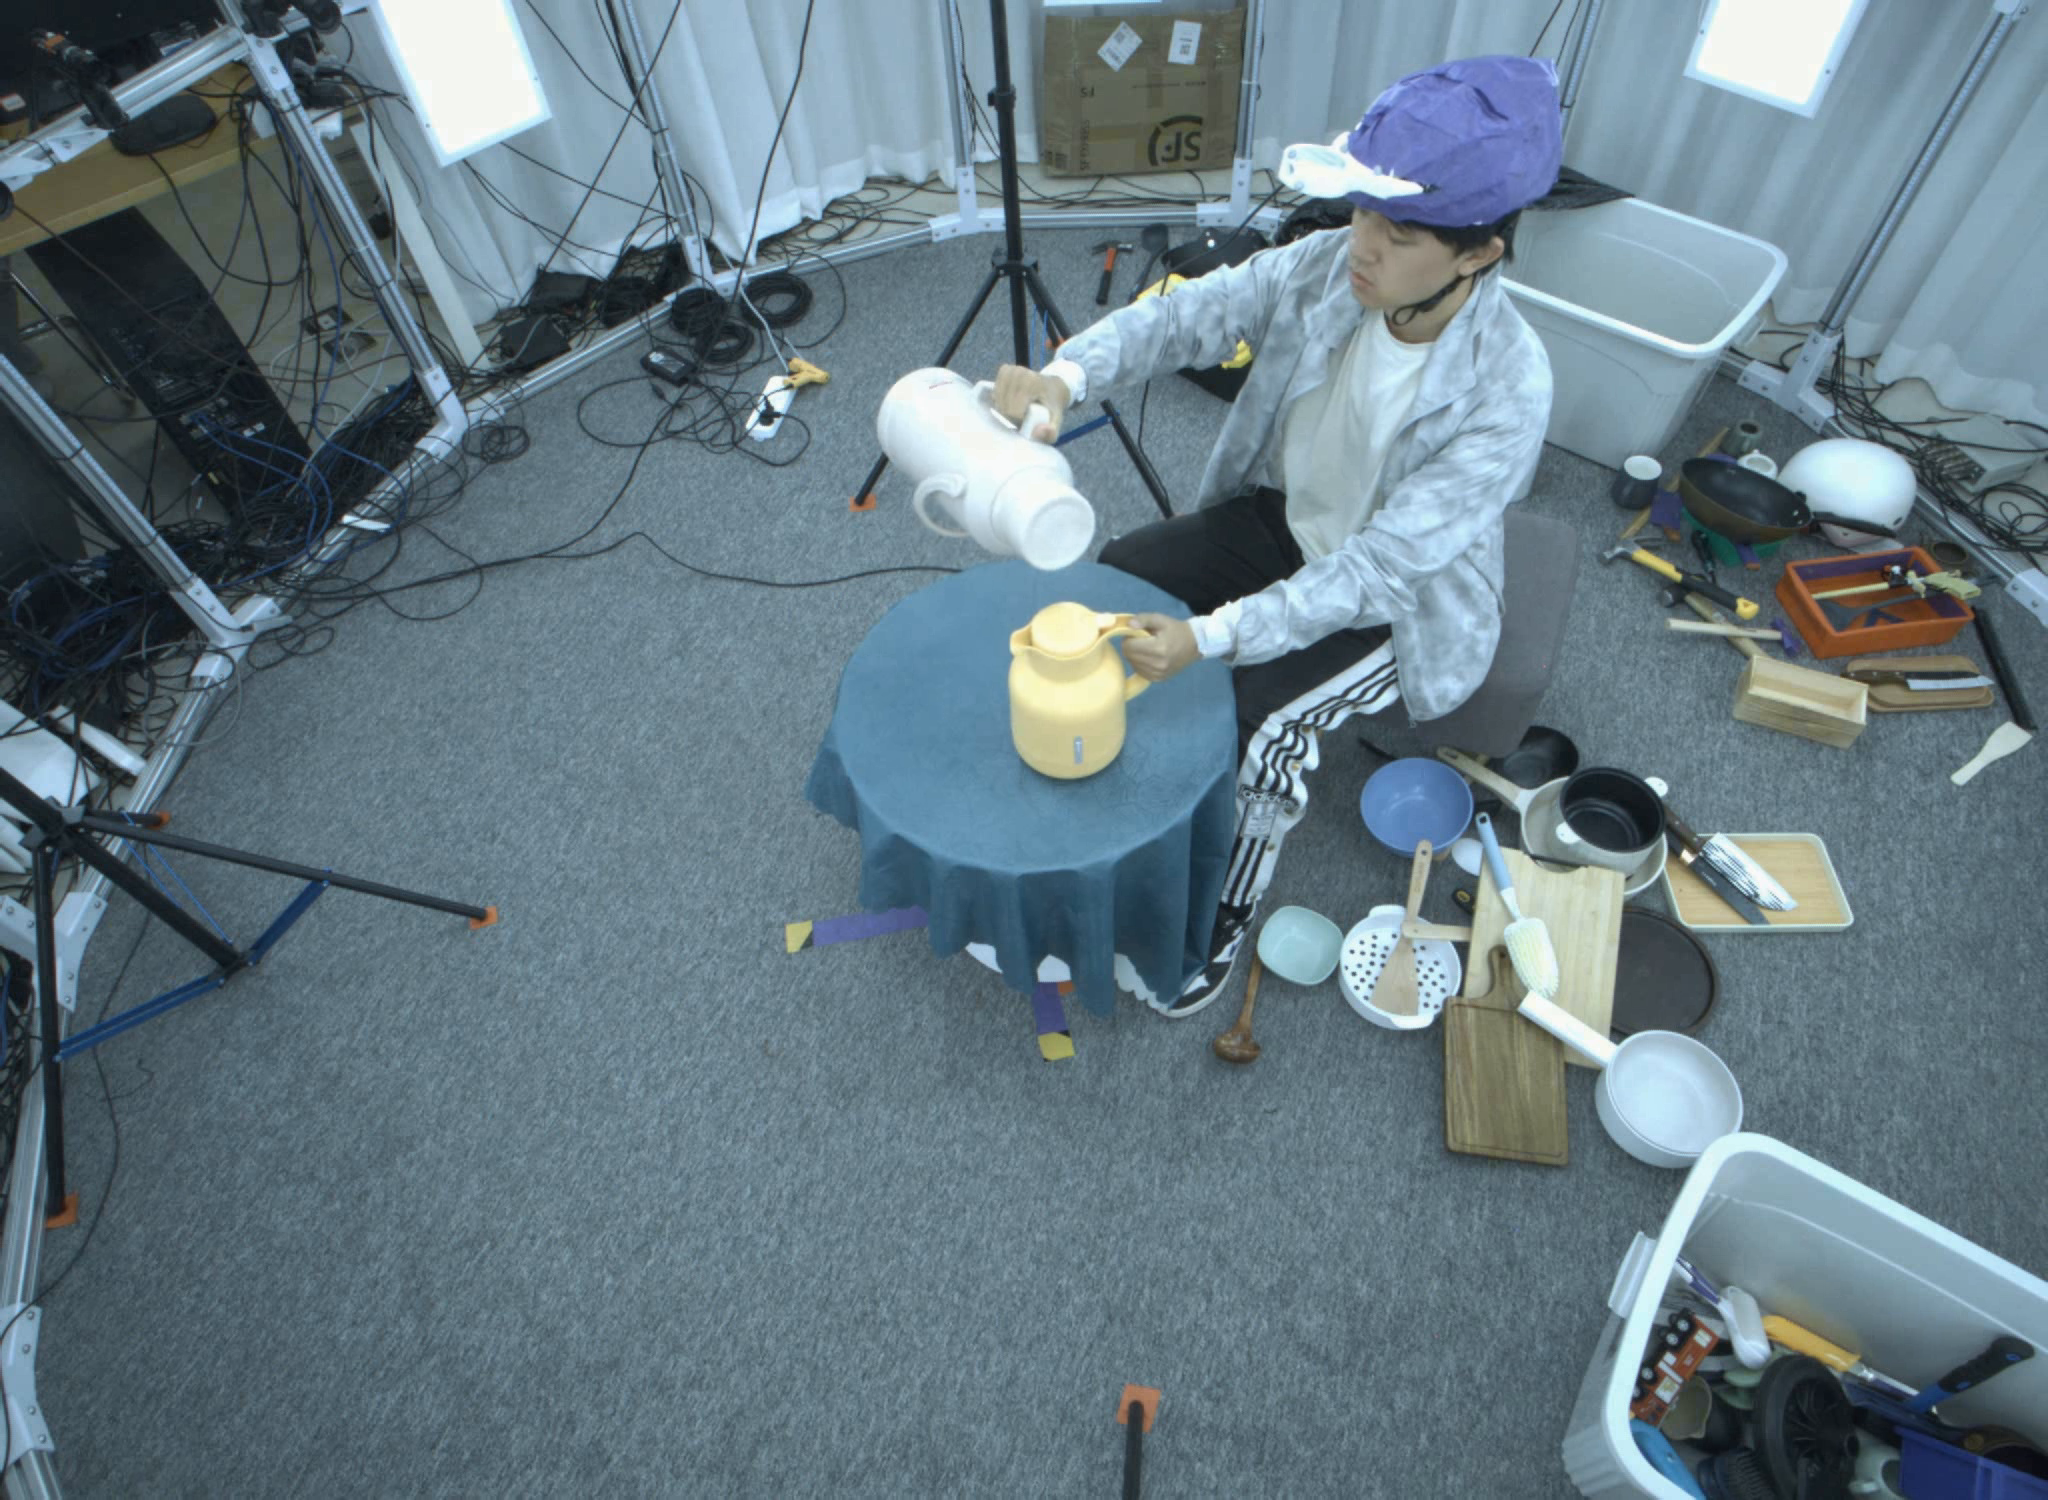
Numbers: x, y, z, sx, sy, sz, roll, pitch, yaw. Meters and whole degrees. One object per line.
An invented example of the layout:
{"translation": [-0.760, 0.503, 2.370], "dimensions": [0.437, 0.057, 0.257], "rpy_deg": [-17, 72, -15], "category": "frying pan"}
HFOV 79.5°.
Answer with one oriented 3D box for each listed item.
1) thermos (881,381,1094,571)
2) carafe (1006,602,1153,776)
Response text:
{"translation": [-0.046, -0.384, 1.624], "dimensions": [0.179, 0.207, 0.397], "rpy_deg": [0, 33, -33], "category": "thermos"}
{"translation": [0.077, -0.091, 1.691], "dimensions": [0.203, 0.263, 0.161], "rpy_deg": [-10, 57, -3], "category": "carafe"}
